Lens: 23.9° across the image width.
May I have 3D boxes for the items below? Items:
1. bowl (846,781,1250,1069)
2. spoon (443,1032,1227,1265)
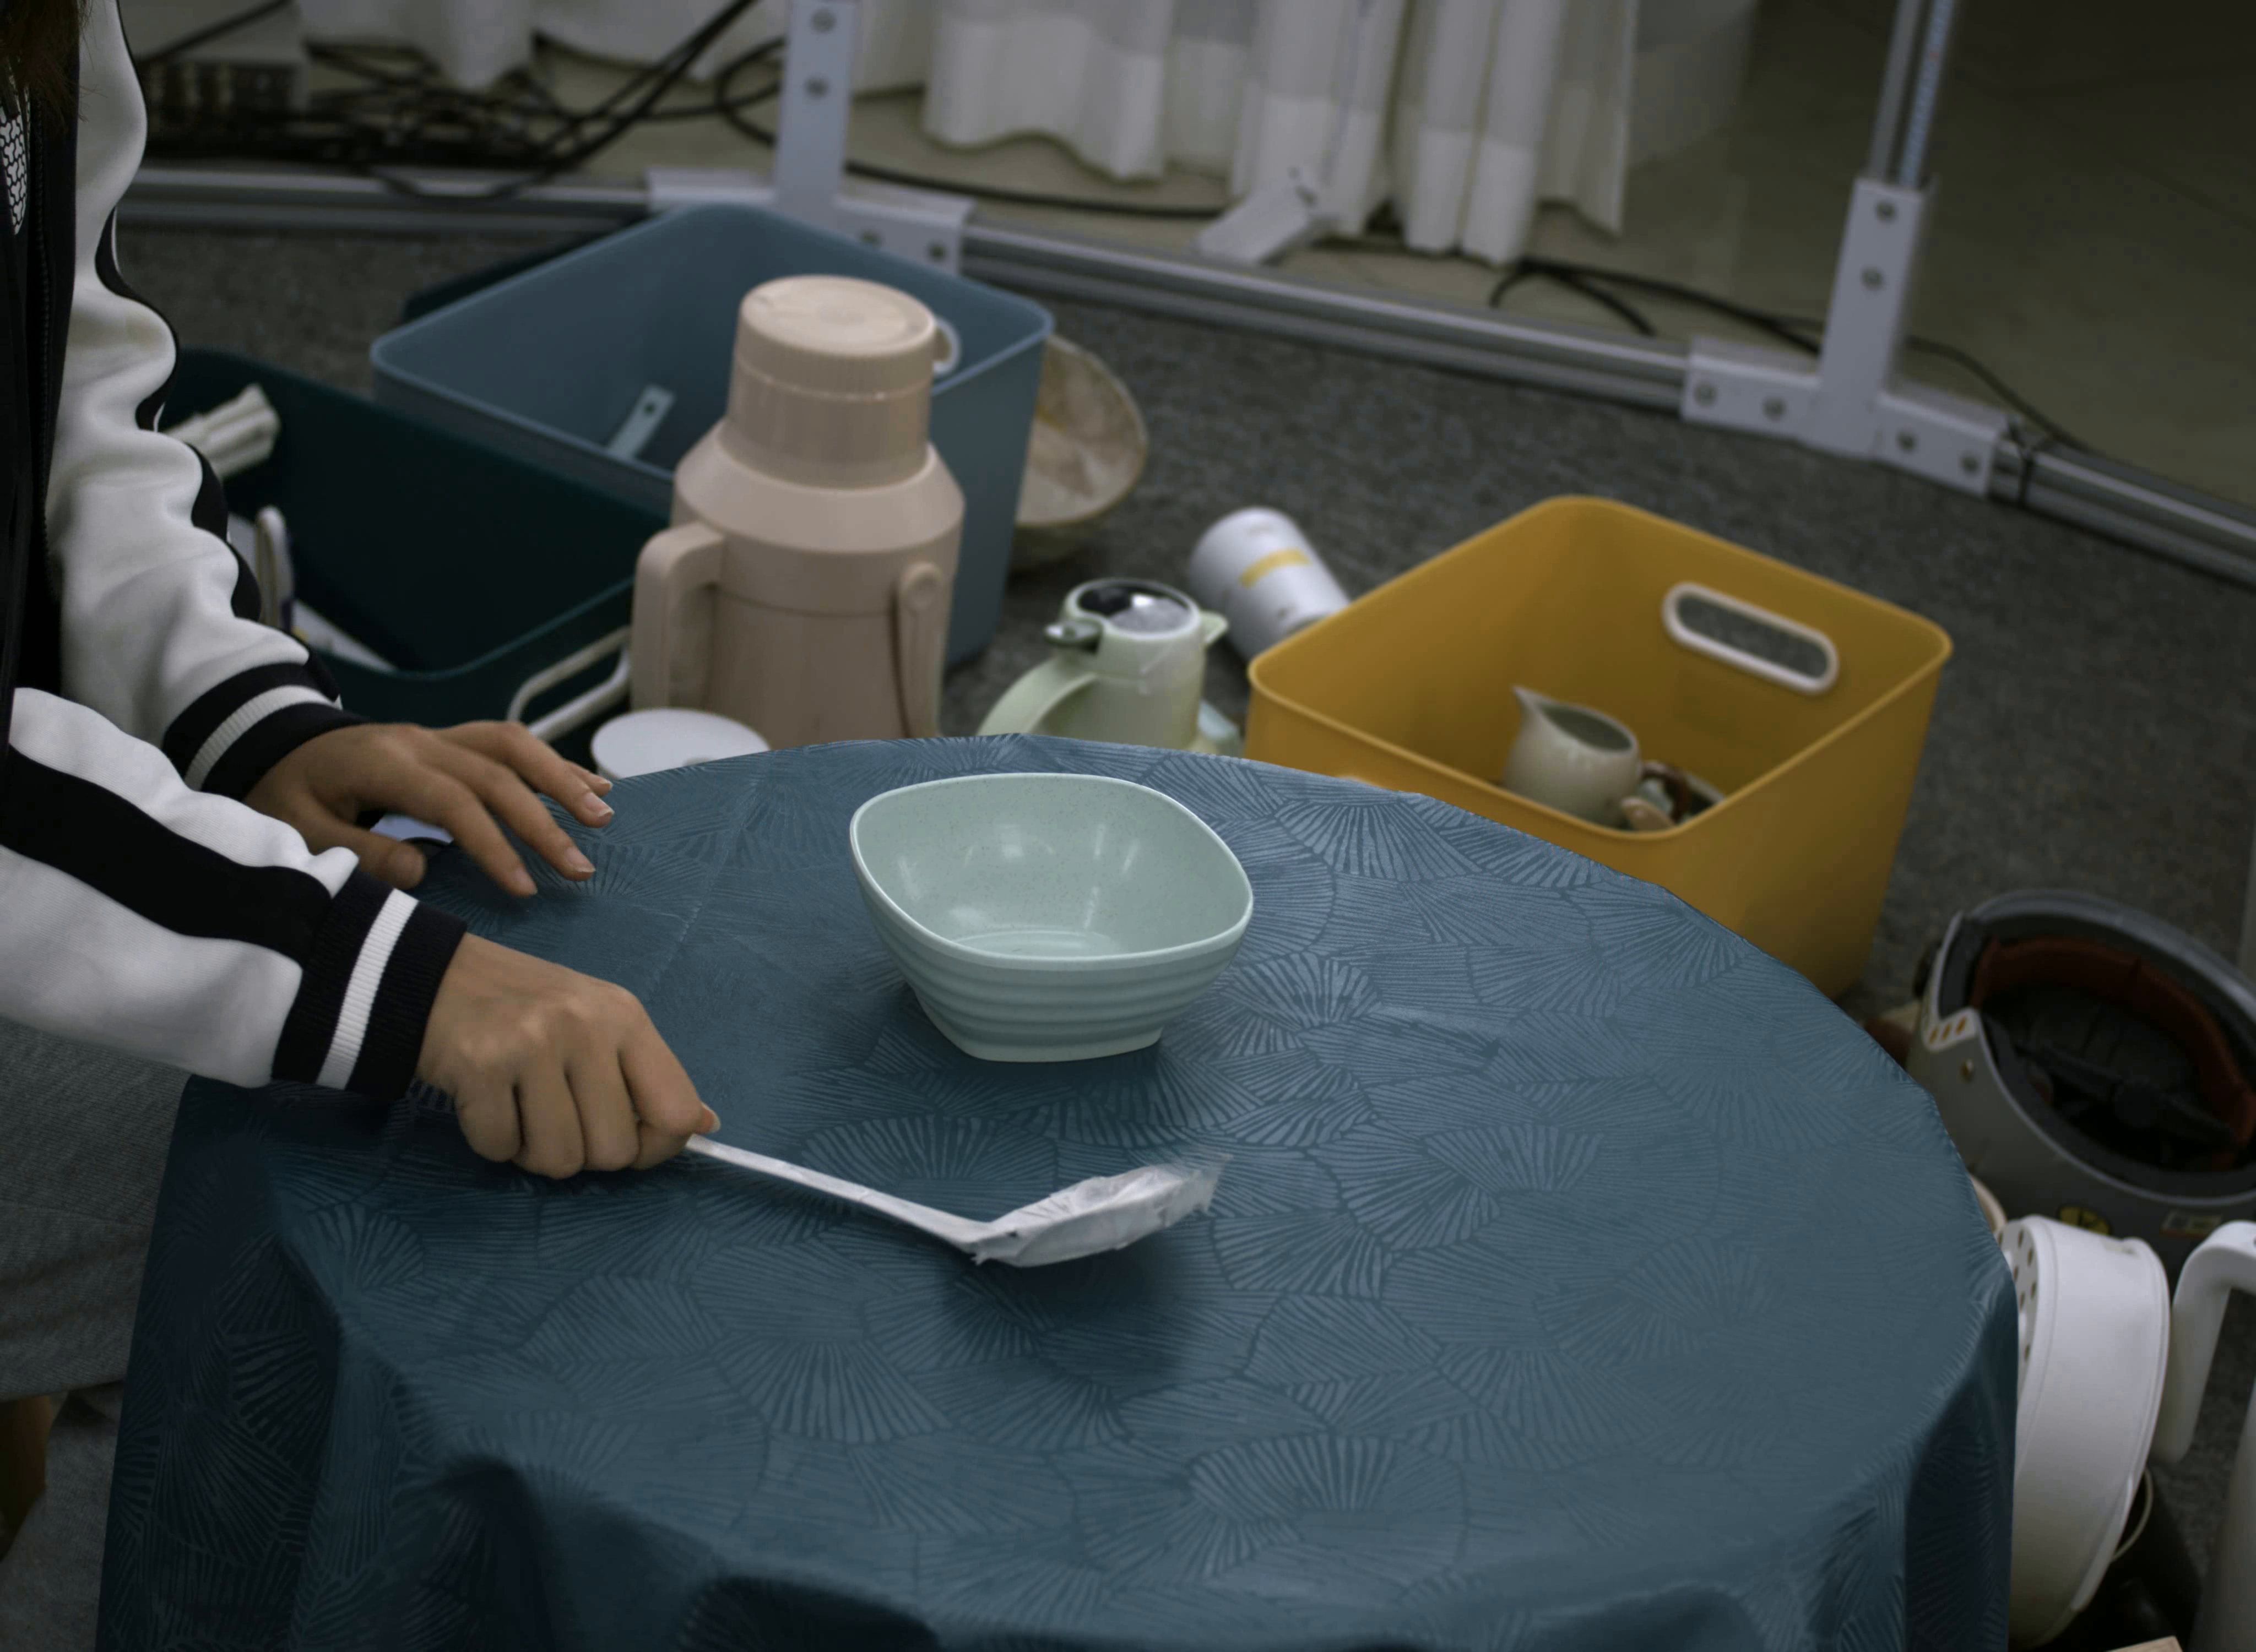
[{"bbox_3d":[-0.032,0.041,1.900,0.151,0.058,0.152,5,27,-3],"label":"bowl"},{"bbox_3d":[-0.100,0.091,1.776,0.278,0.059,0.100,19,8,19],"label":"spoon"}]
